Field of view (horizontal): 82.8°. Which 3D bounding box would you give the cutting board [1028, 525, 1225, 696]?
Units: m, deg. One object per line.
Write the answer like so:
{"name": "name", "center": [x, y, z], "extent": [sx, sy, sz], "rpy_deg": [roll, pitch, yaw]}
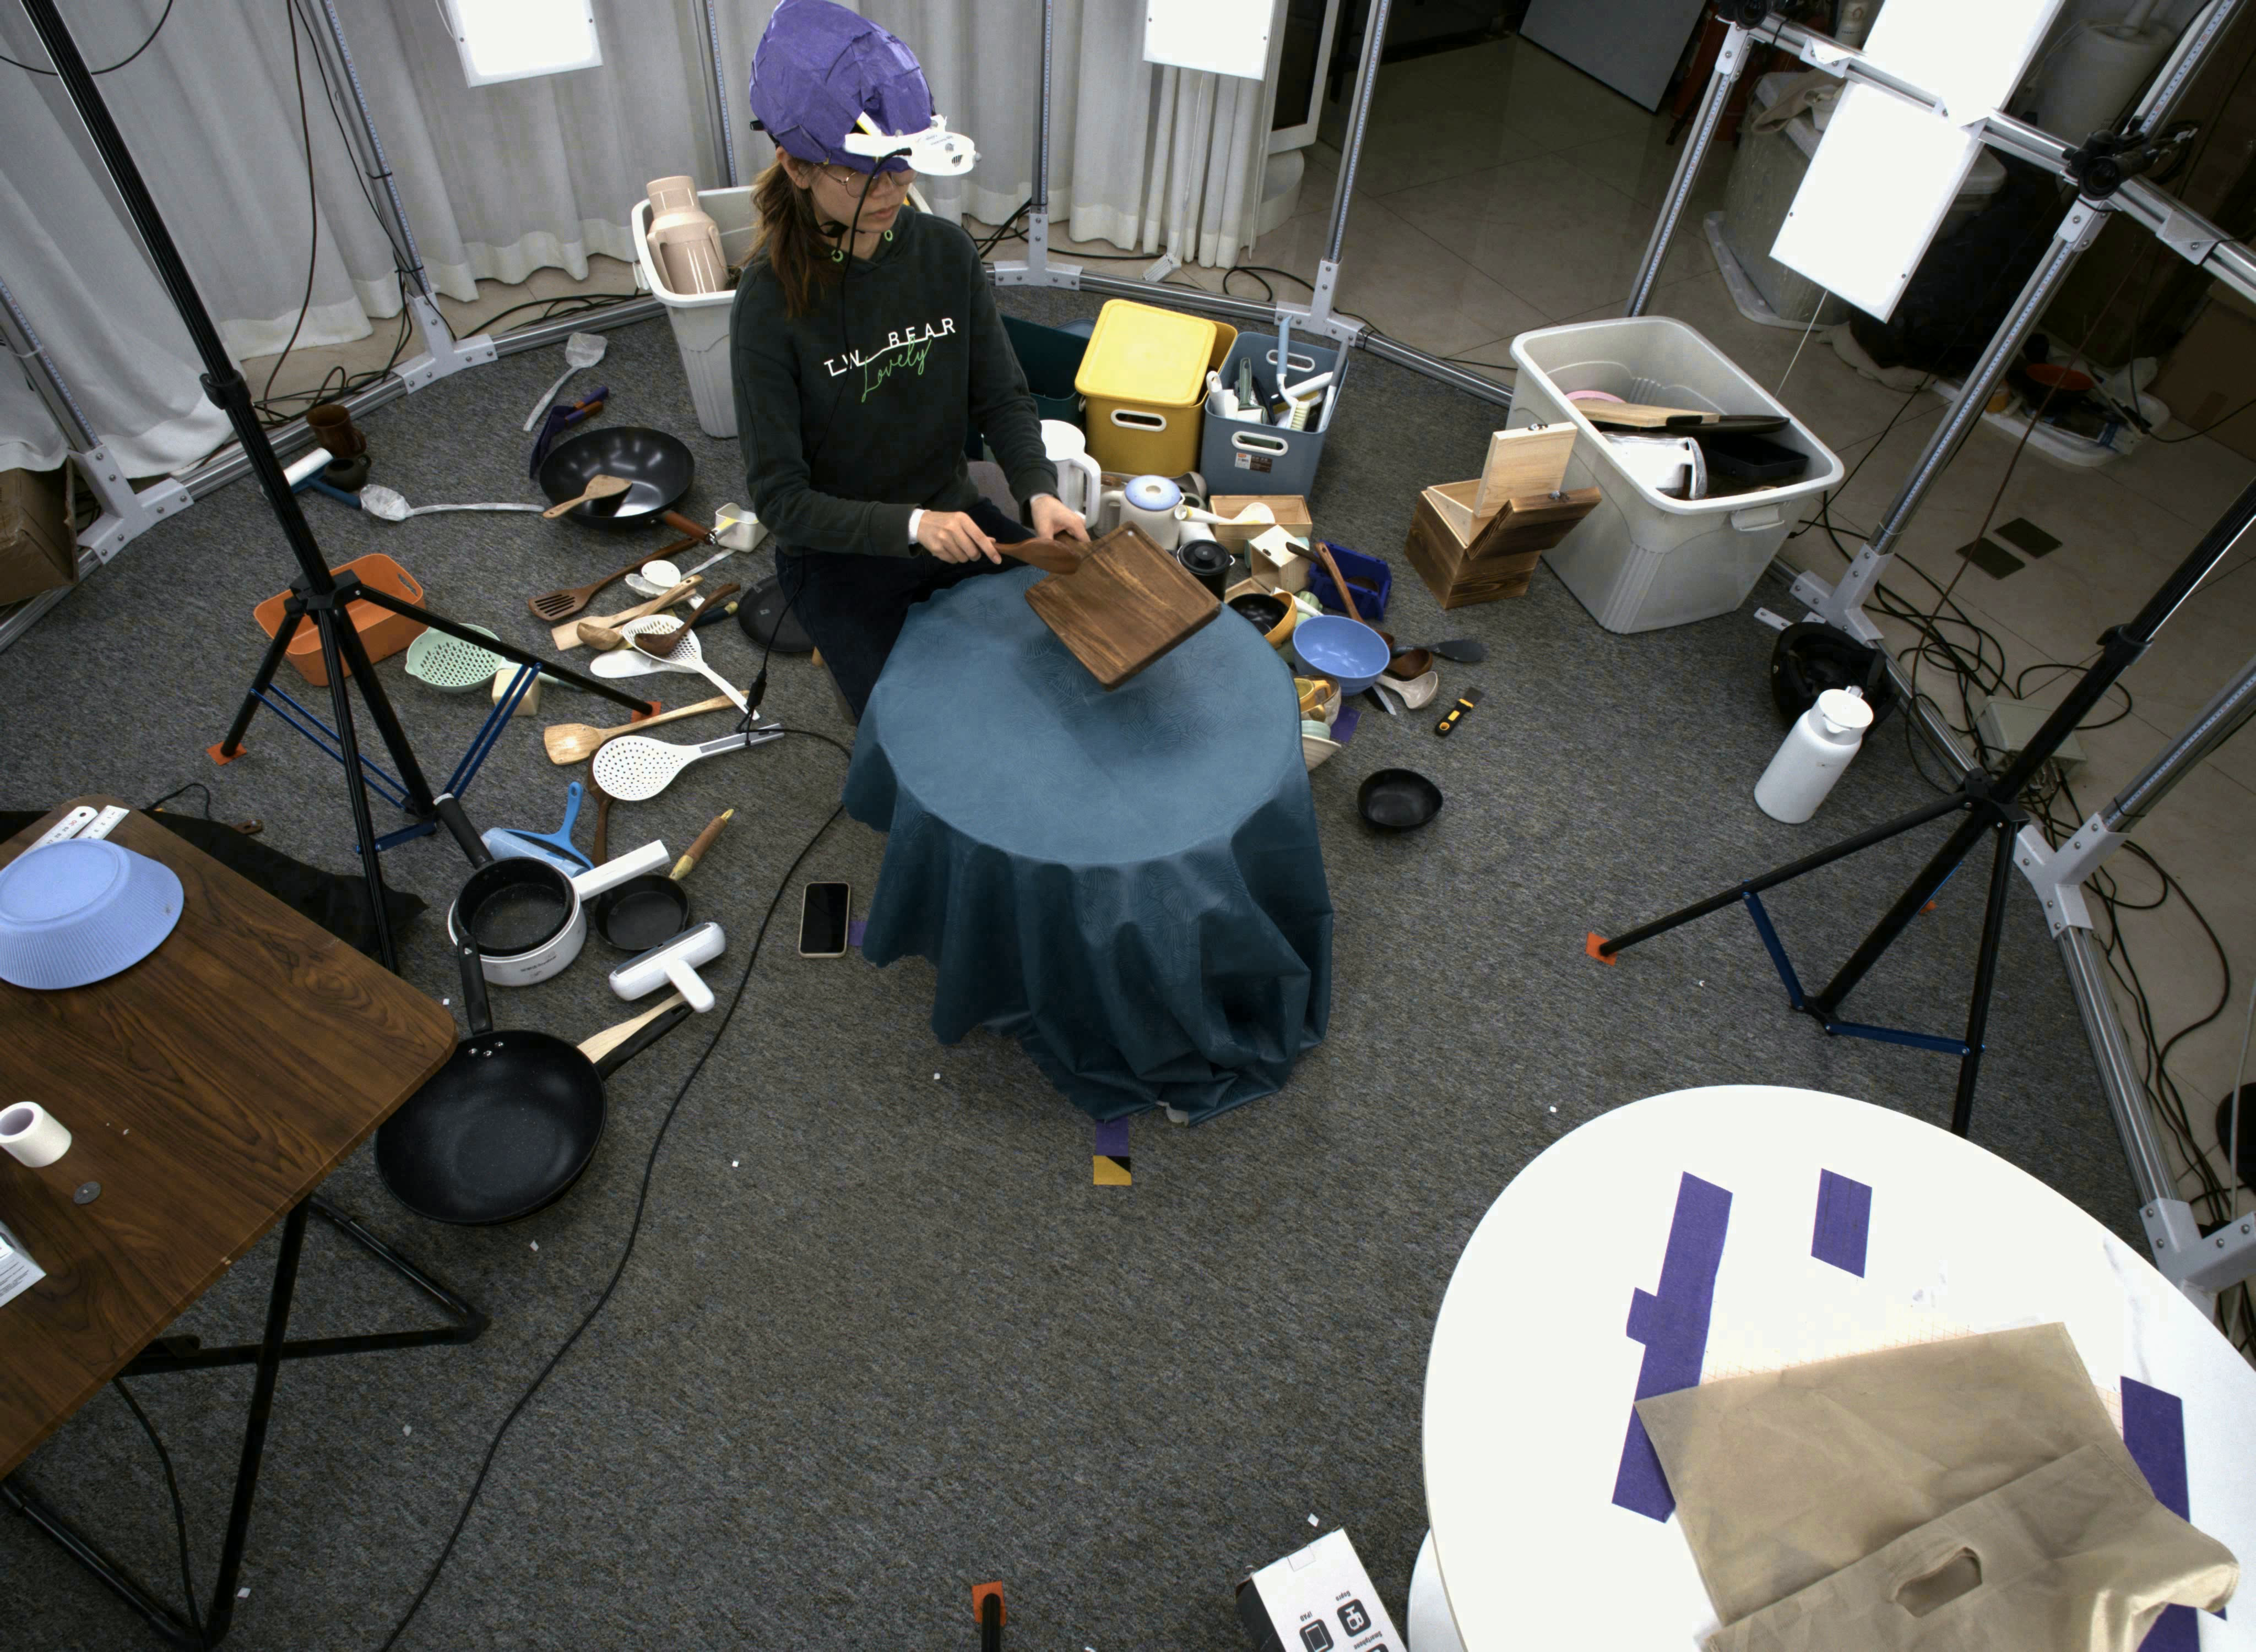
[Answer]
{"name": "cutting board", "center": [-0.031, -0.339, 1.844], "extent": [0.201, 0.022, 0.360], "rpy_deg": [-36, 49, -4]}

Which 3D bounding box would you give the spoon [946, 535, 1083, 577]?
{"name": "spoon", "center": [-0.162, -0.382, 1.815], "extent": [0.217, 0.074, 0.017], "rpy_deg": [15, 74, 23]}
